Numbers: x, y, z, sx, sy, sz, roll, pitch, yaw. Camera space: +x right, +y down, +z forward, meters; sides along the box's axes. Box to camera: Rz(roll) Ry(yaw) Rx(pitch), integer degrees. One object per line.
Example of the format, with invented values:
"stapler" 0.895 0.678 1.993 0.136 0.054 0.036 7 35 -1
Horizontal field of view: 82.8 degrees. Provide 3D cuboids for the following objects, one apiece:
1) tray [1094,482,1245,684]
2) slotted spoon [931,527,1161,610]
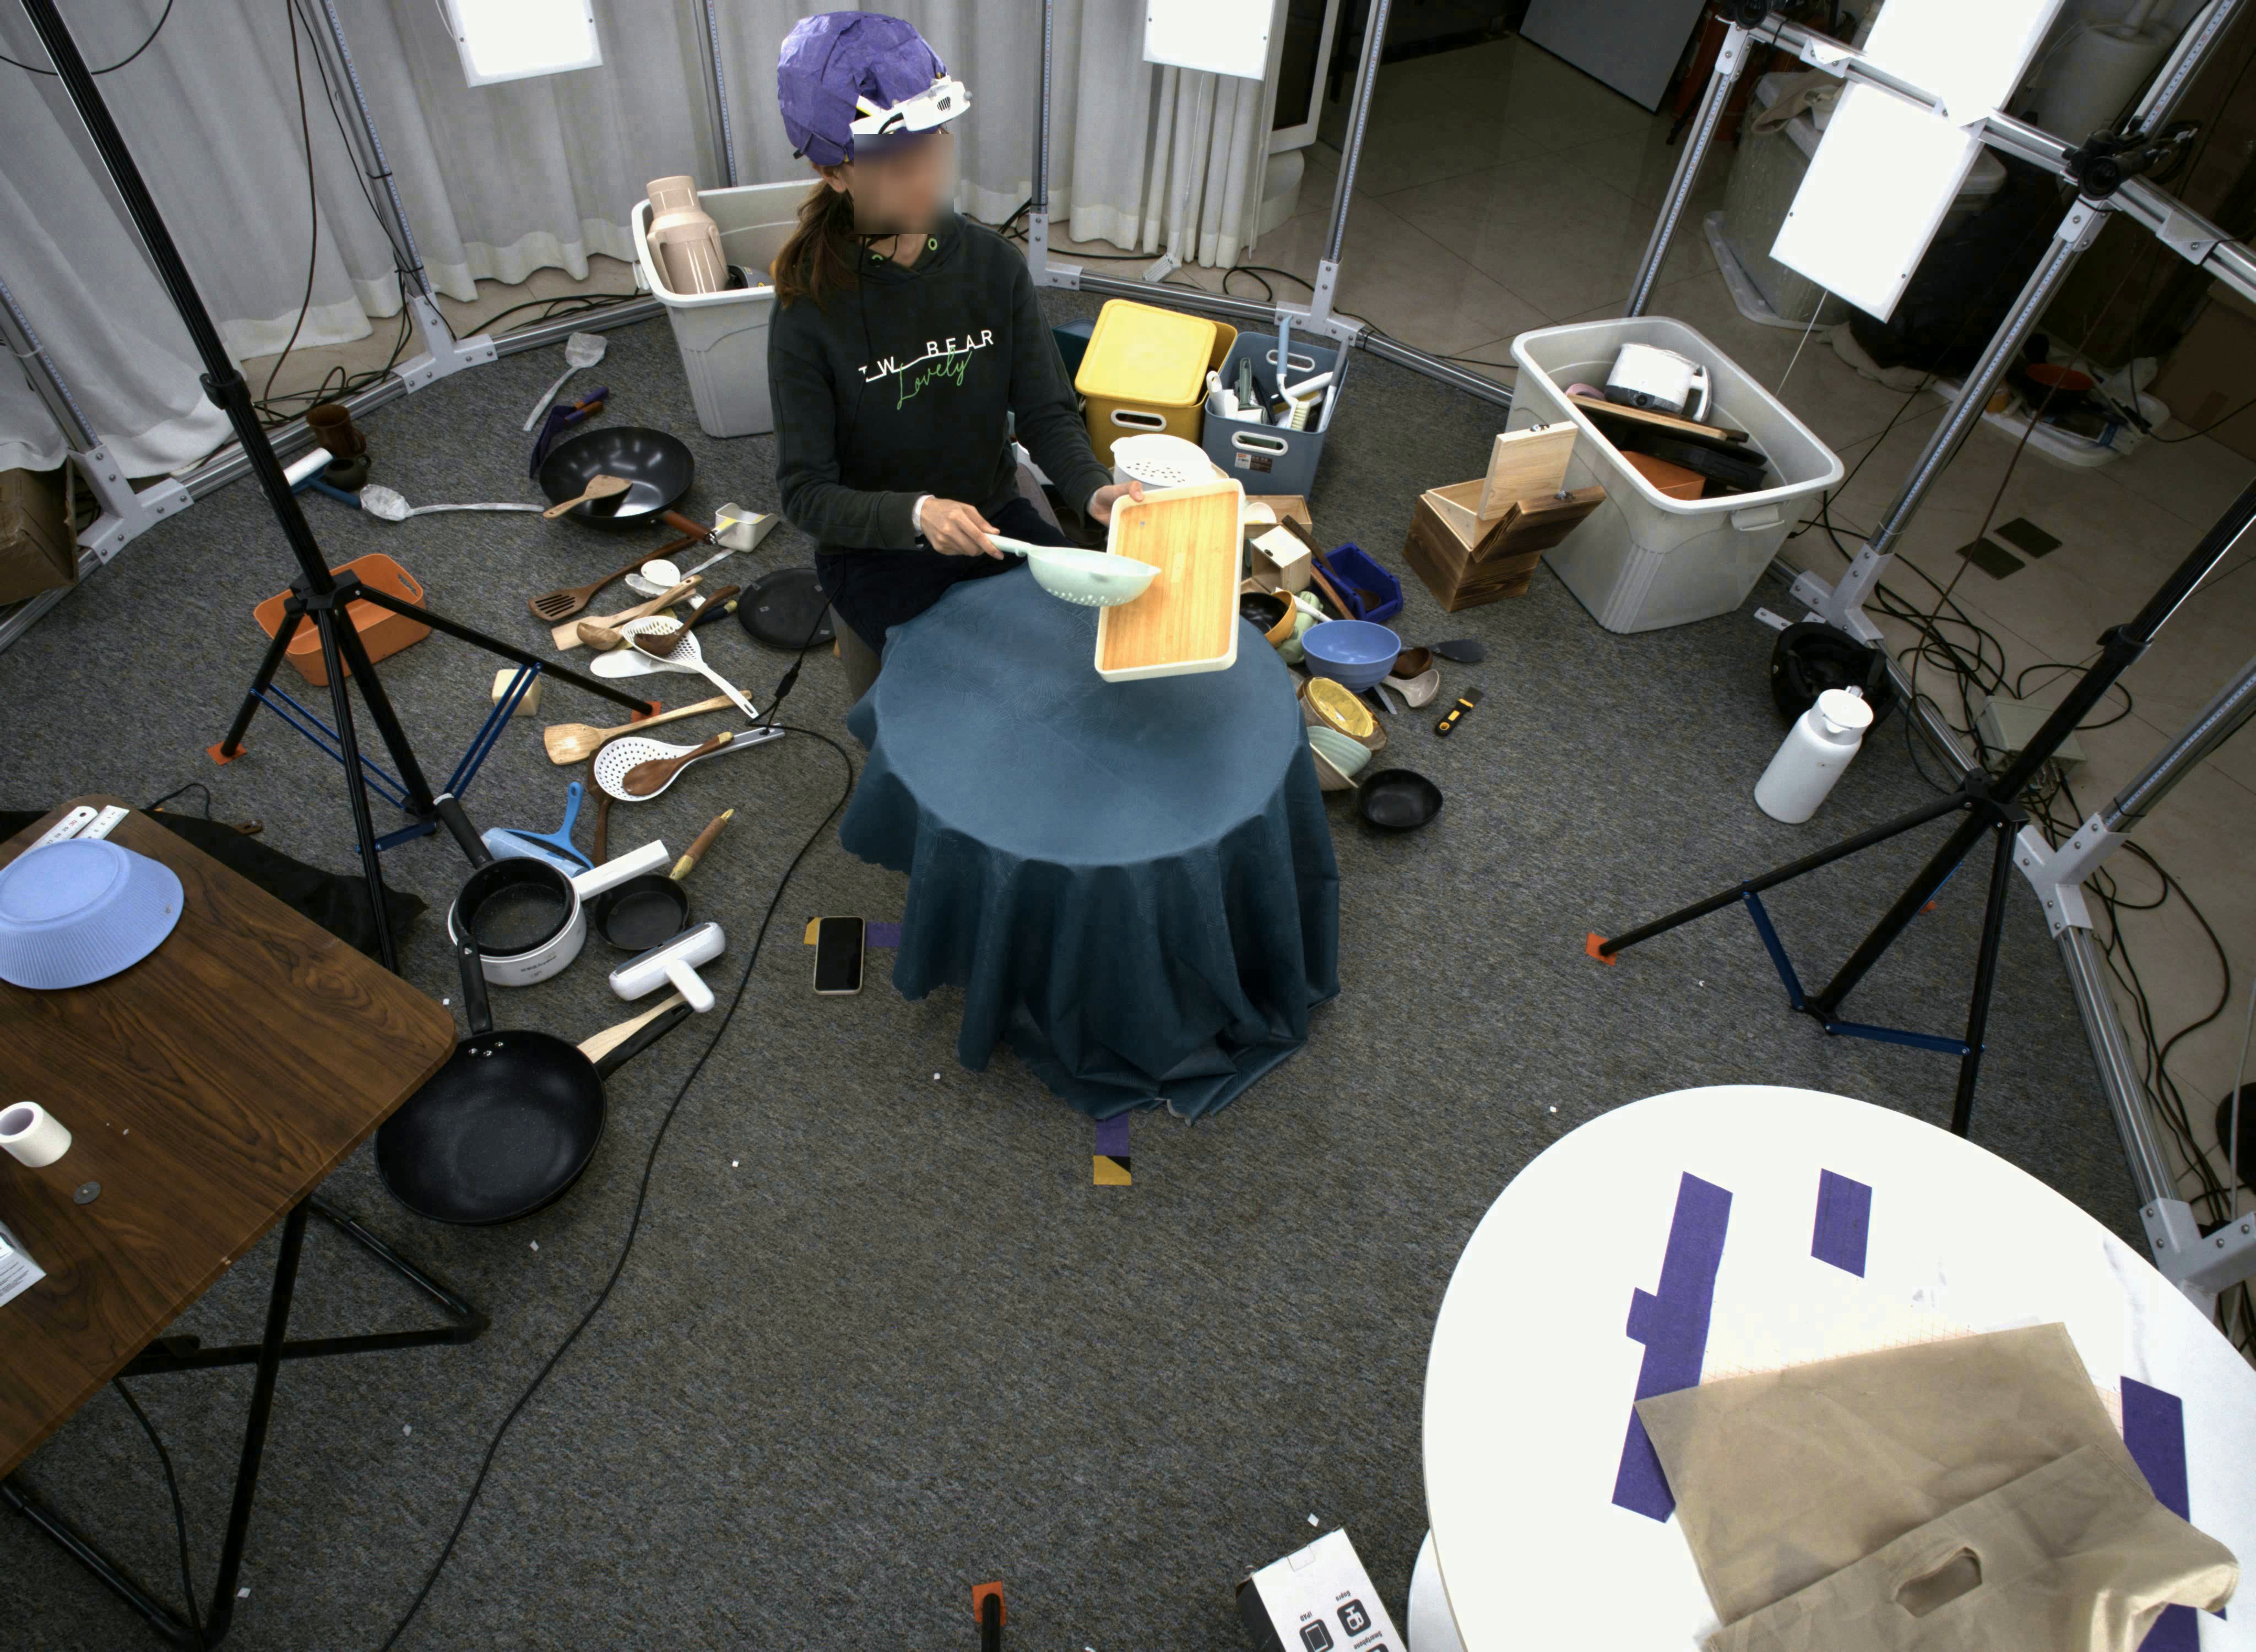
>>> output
"tray" 0.059 -0.334 1.755 0.192 0.027 0.306 -4 60 19
"slotted spoon" -0.128 -0.364 1.748 0.363 0.074 0.169 29 24 27
